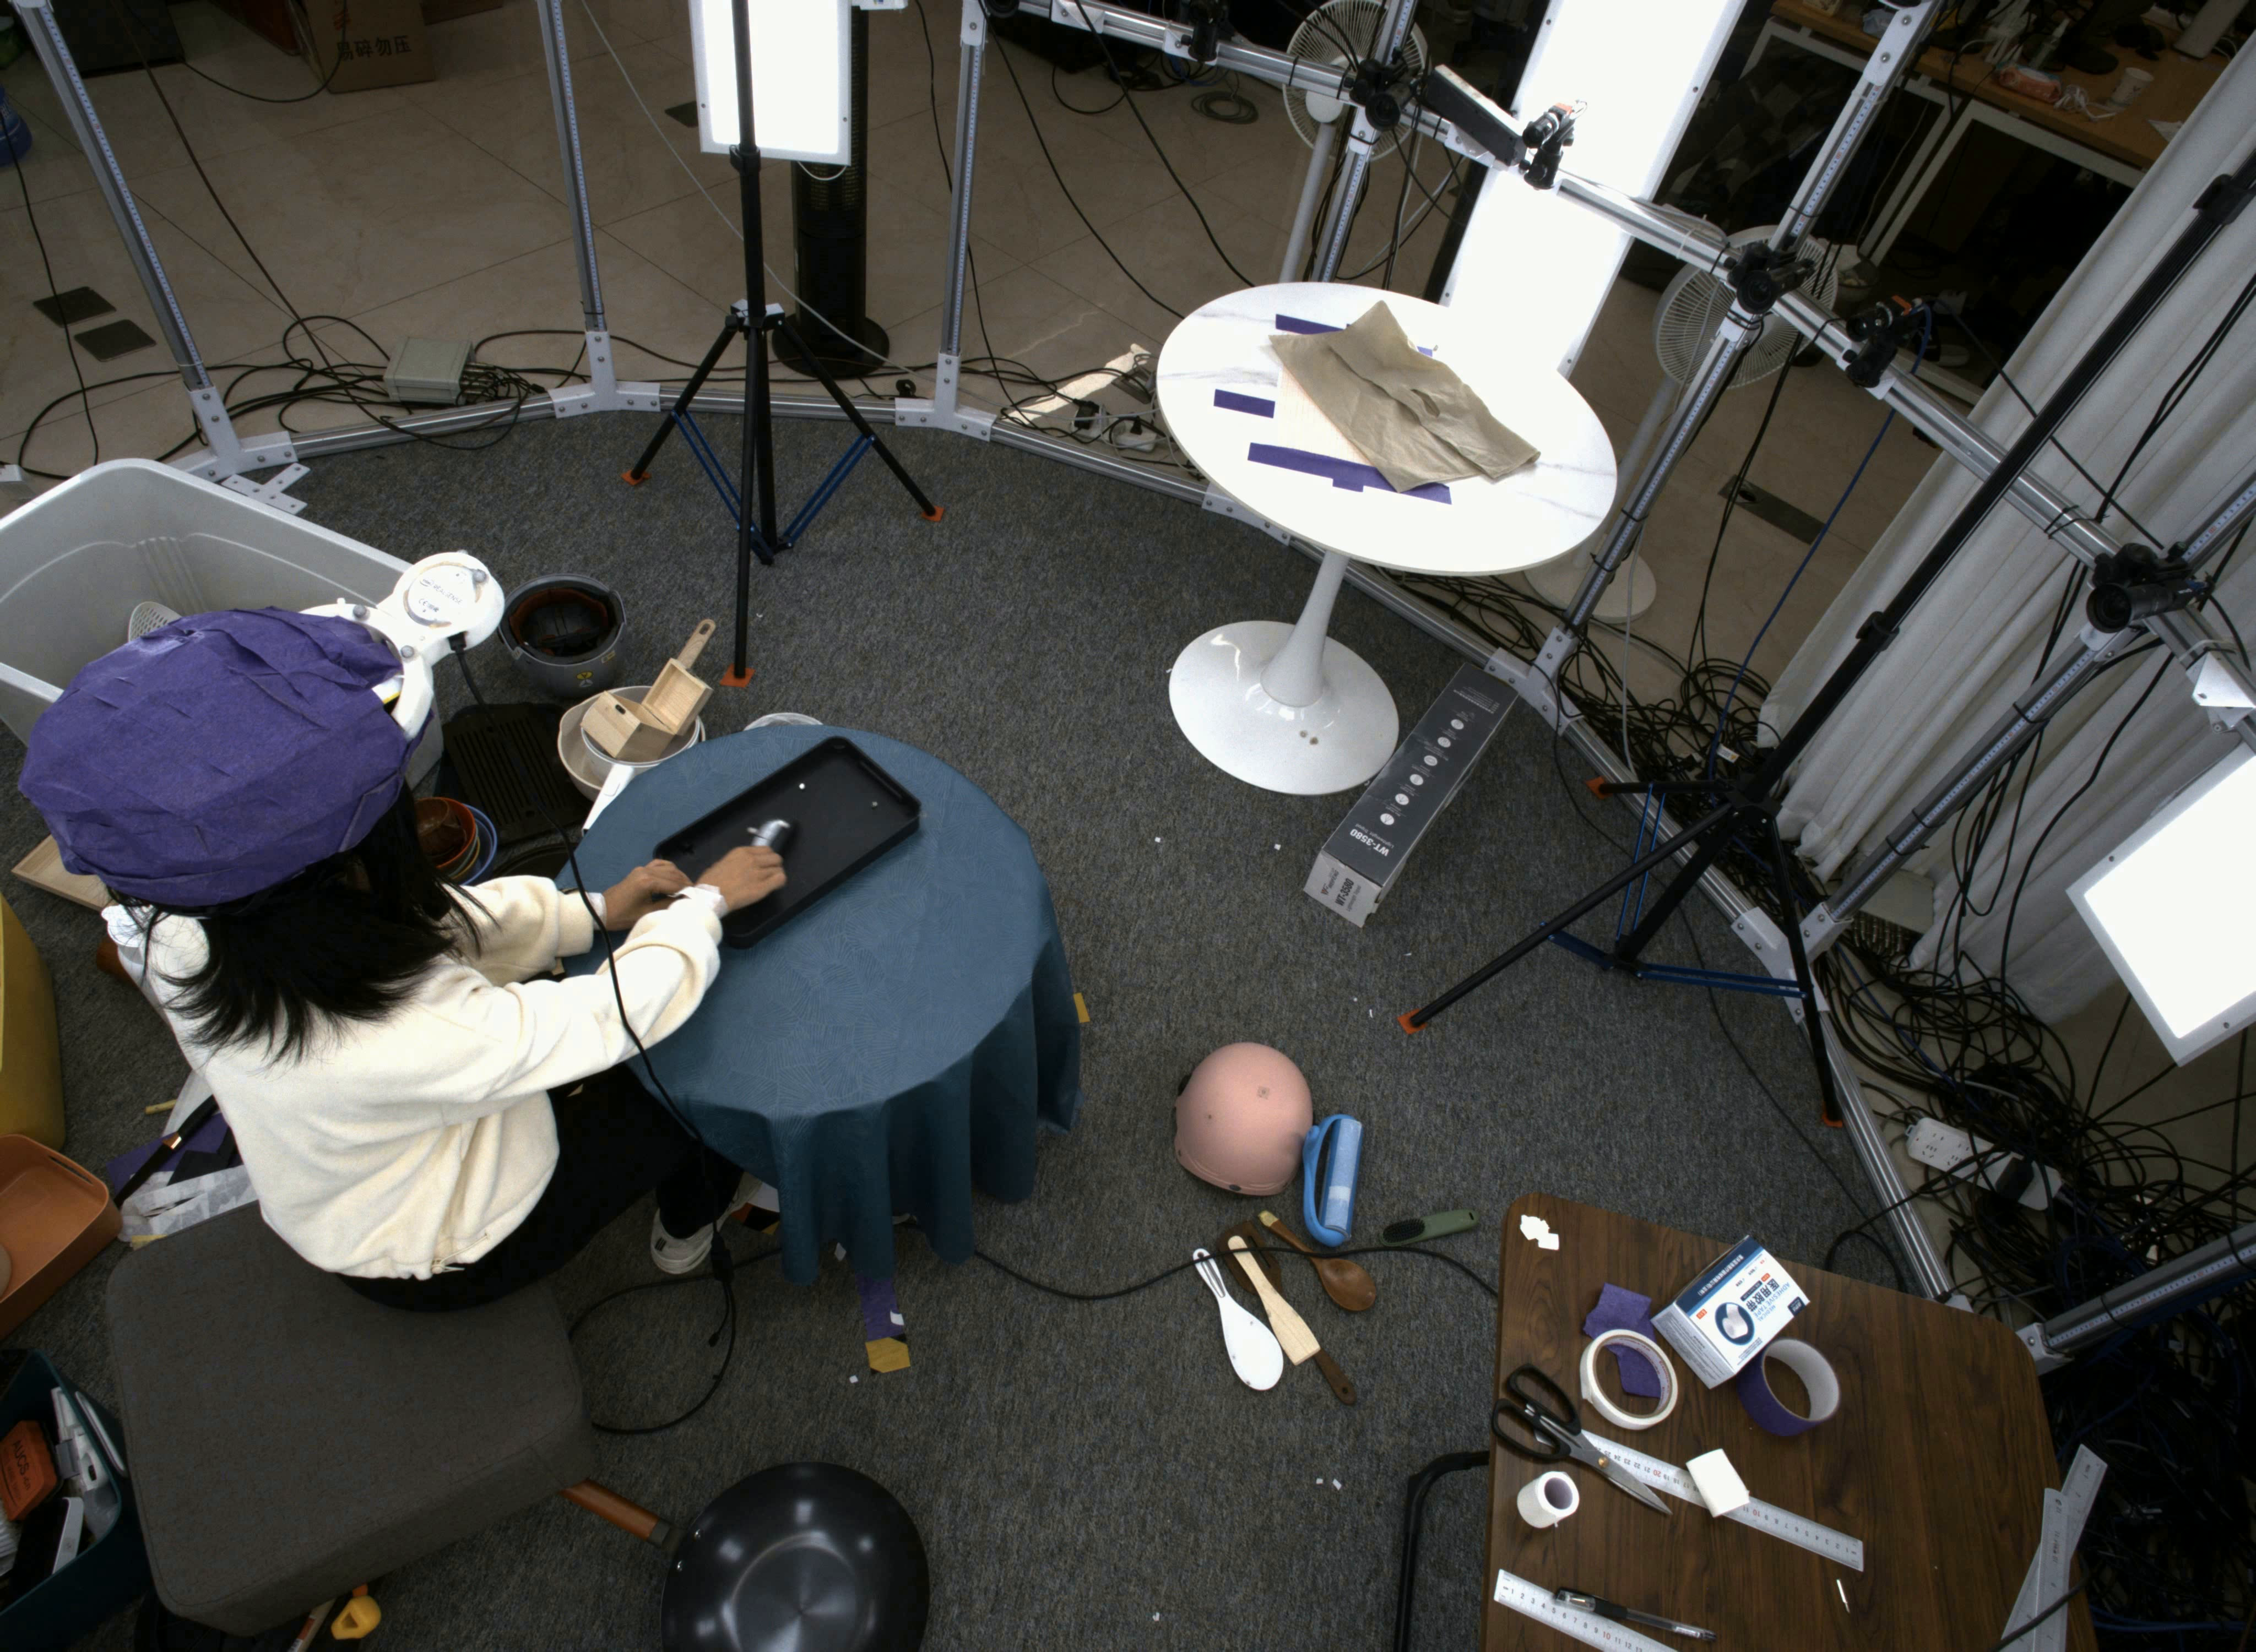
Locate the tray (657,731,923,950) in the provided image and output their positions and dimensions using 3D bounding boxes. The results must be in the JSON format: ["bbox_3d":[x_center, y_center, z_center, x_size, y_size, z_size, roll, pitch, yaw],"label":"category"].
[{"bbox_3d":[-0.434,0.011,1.684,0.180,0.038,0.318,38,54,15],"label":"tray"}]

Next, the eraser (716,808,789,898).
[{"bbox_3d":[-0.480,0.031,1.657,0.053,0.031,0.124,11,52,2],"label":"eraser"}]
